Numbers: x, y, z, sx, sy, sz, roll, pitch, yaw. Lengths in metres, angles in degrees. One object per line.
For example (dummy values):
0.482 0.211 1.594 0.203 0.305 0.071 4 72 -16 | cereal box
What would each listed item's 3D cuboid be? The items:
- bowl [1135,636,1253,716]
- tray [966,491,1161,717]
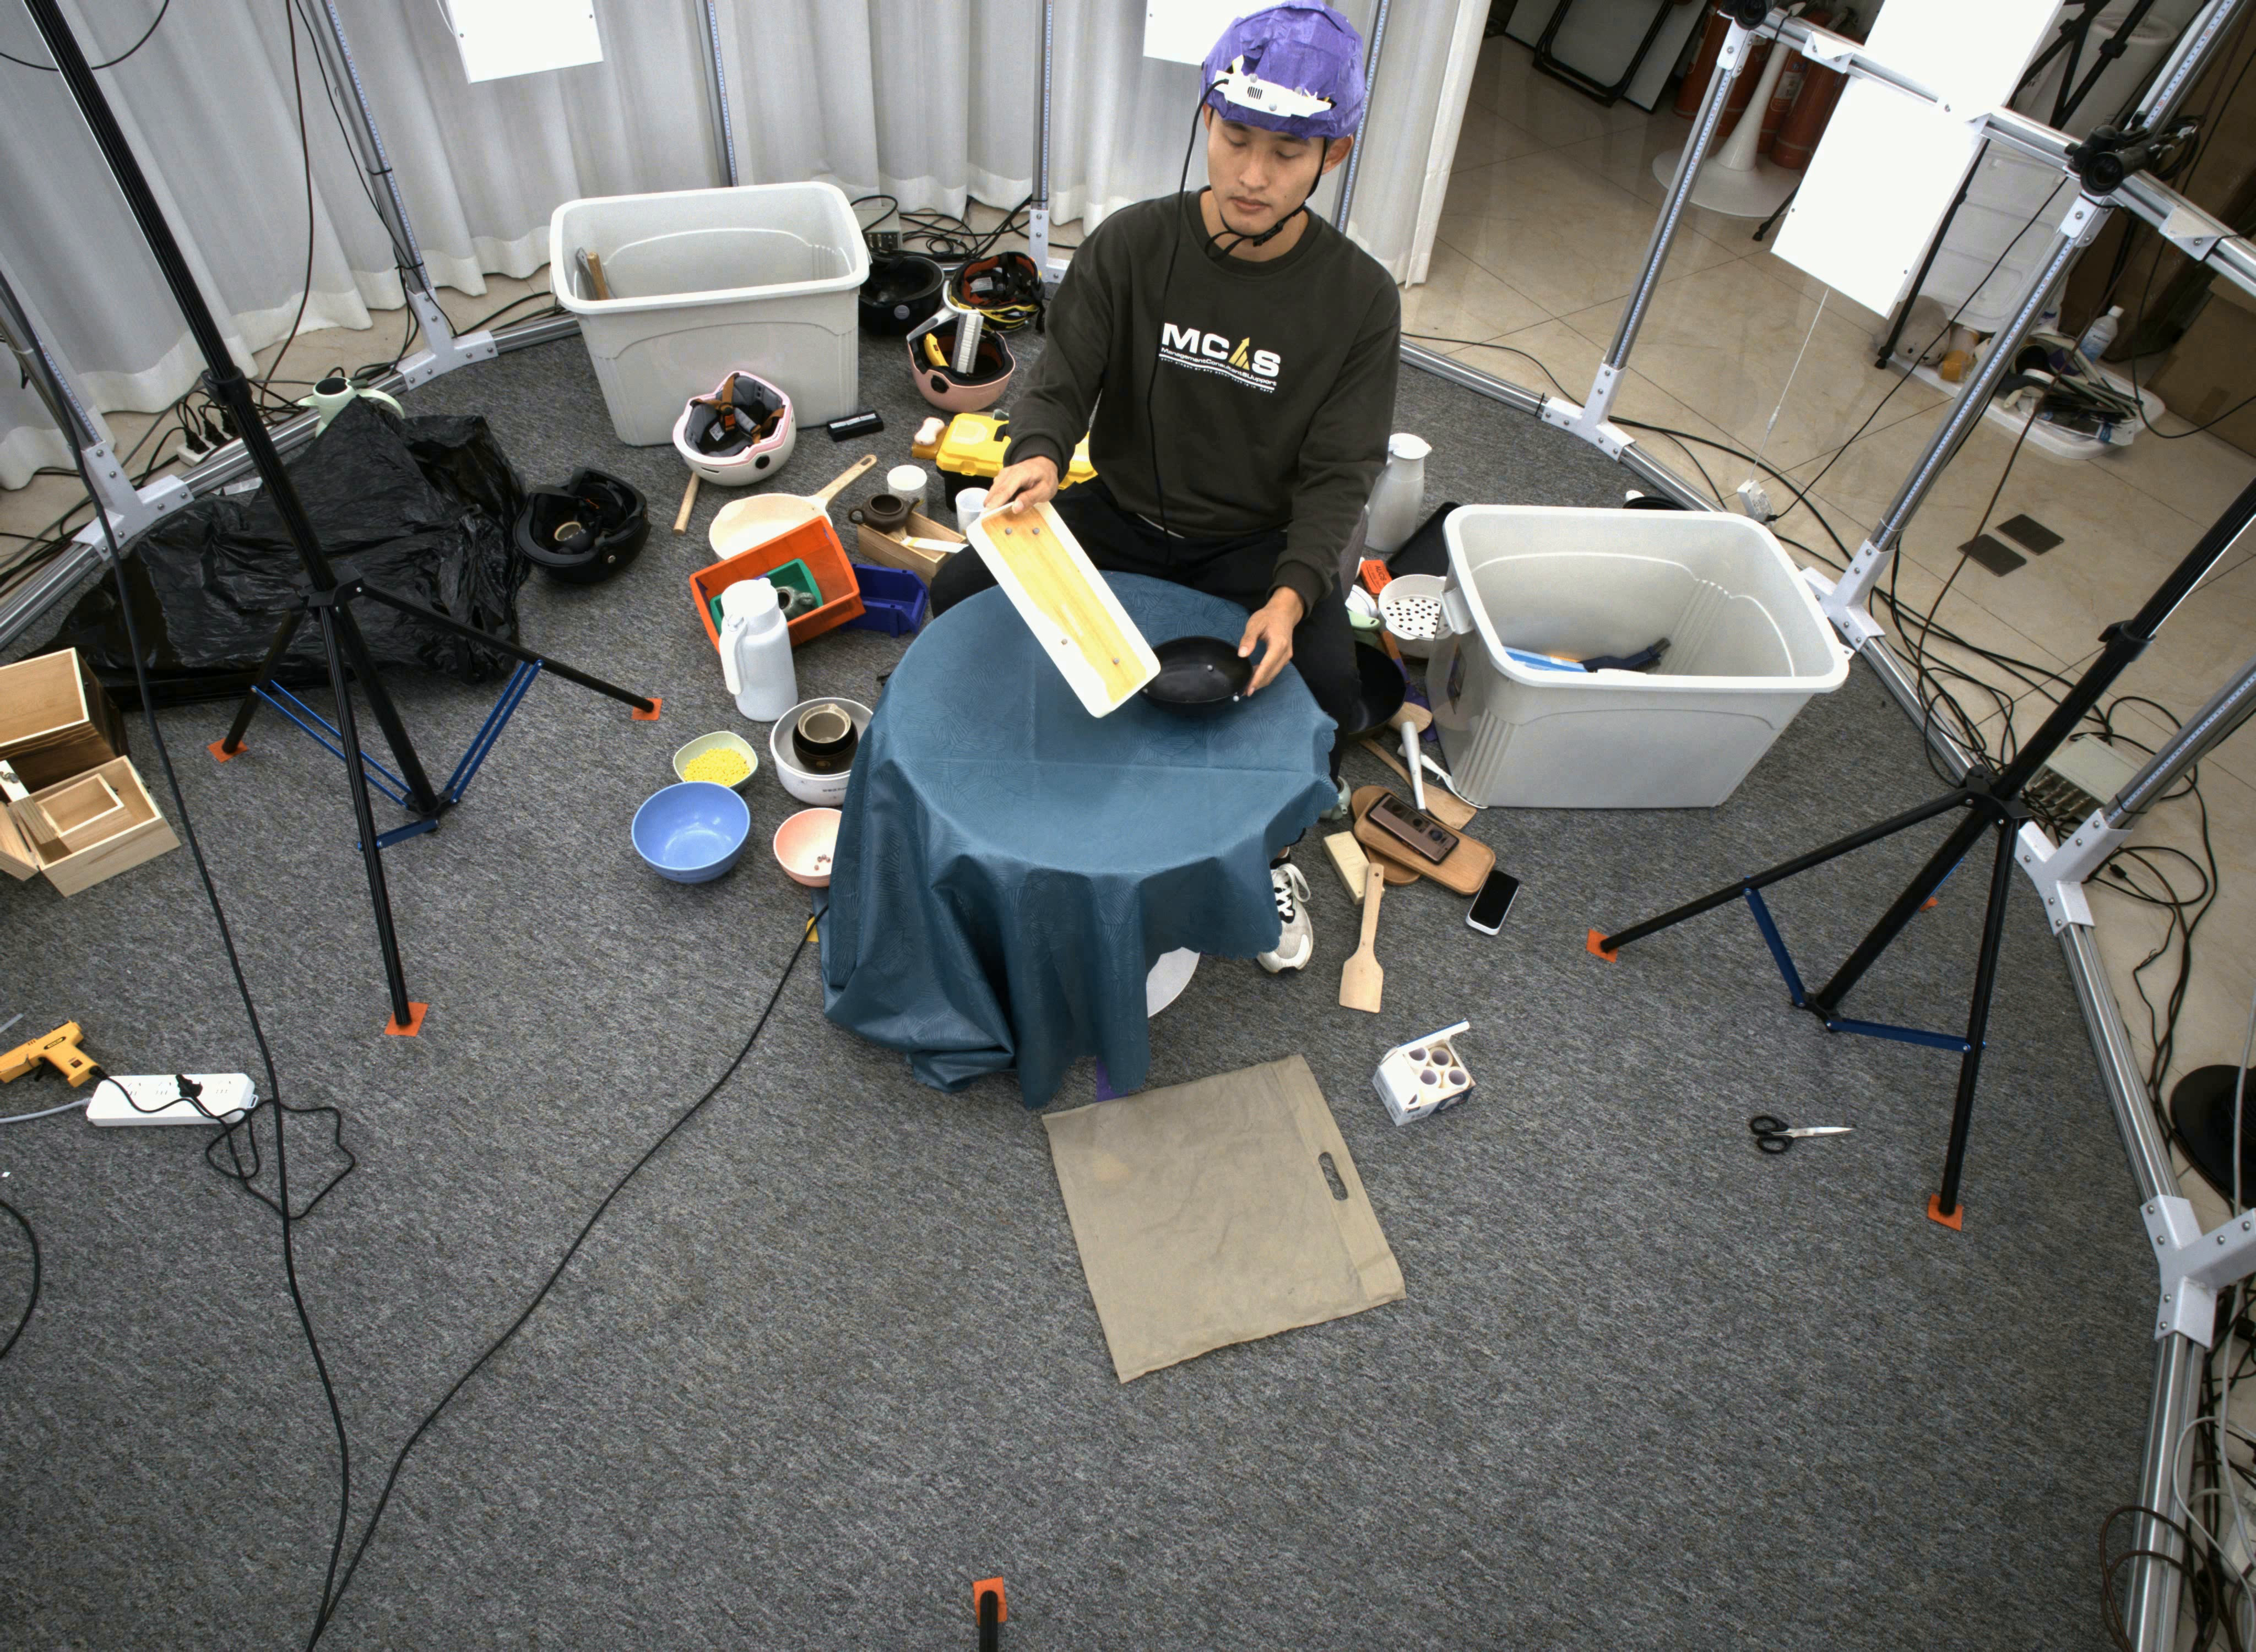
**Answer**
0.090 -0.198 1.800 0.170 0.065 0.141 -3 47 3 | bowl
-0.080 -0.299 1.715 0.299 0.027 0.194 55 34 -5 | tray
